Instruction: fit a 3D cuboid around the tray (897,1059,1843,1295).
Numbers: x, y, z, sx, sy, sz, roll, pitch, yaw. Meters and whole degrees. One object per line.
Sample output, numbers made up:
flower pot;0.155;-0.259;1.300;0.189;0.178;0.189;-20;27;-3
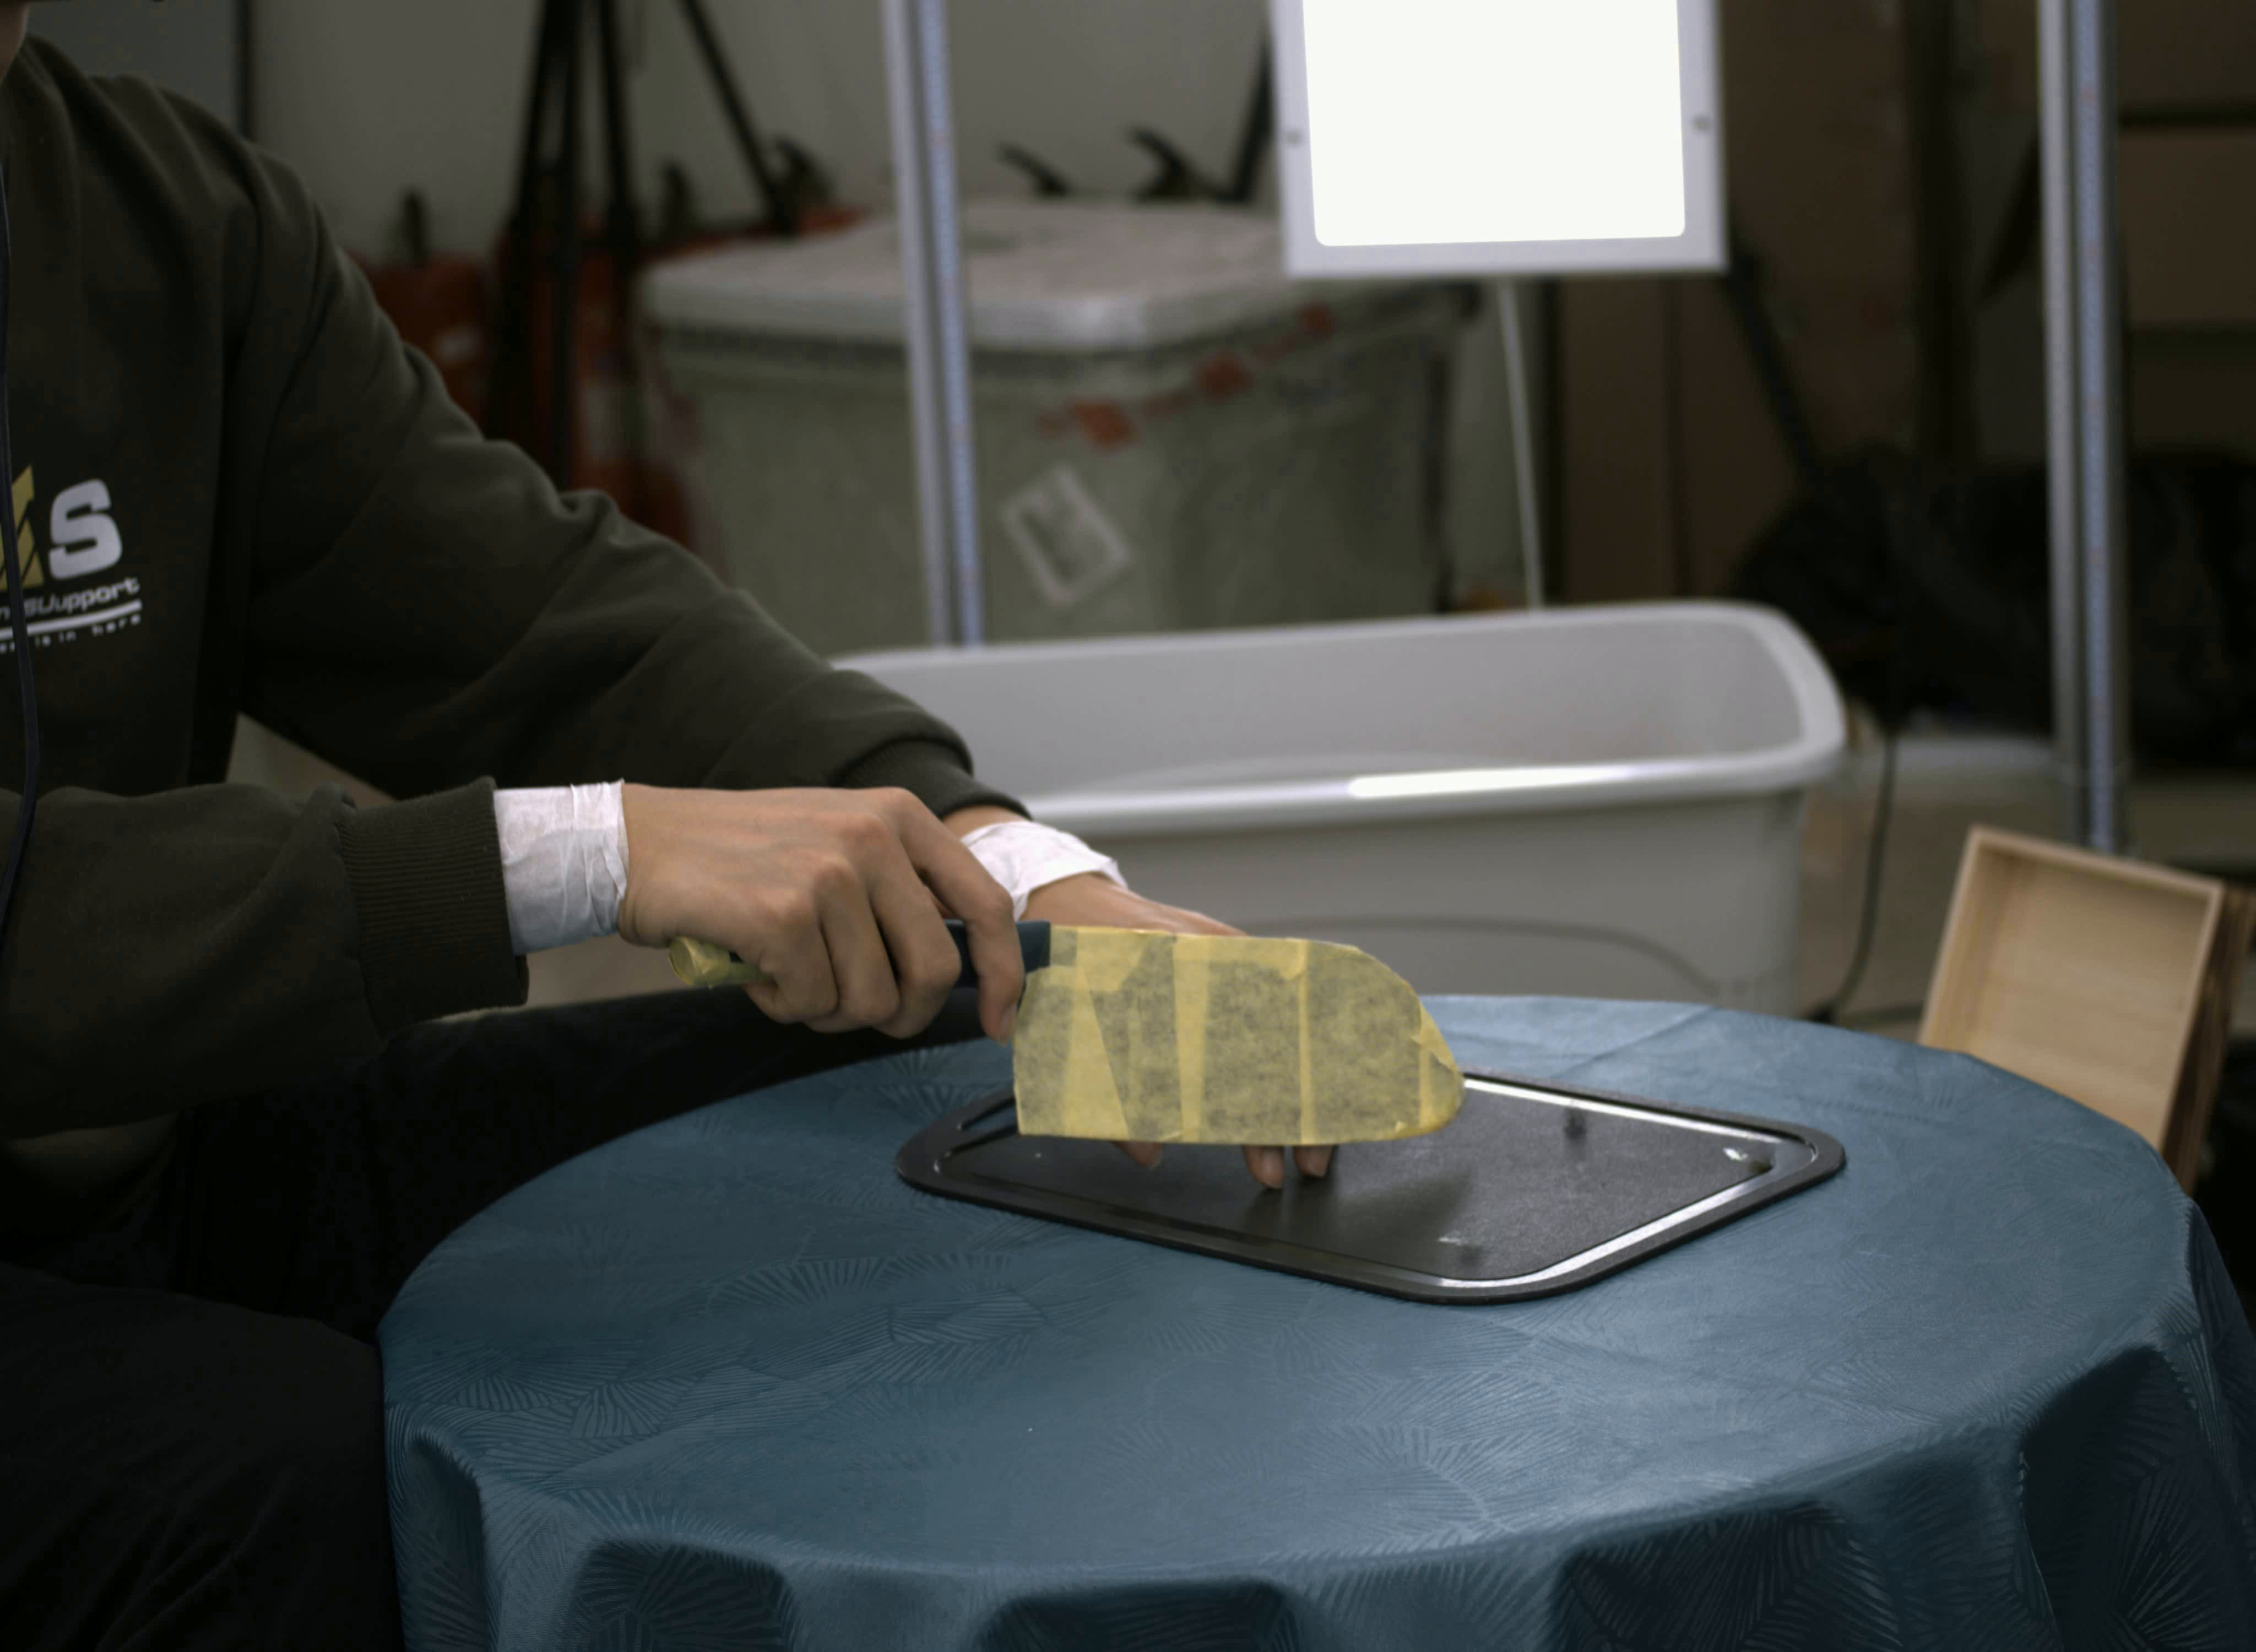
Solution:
tray;0.075;0.113;1.916;0.332;0.010;0.206;9;19;45

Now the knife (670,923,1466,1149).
knife;-0.016;0.069;1.863;0.285;0.081;0.027;6;-16;-18
